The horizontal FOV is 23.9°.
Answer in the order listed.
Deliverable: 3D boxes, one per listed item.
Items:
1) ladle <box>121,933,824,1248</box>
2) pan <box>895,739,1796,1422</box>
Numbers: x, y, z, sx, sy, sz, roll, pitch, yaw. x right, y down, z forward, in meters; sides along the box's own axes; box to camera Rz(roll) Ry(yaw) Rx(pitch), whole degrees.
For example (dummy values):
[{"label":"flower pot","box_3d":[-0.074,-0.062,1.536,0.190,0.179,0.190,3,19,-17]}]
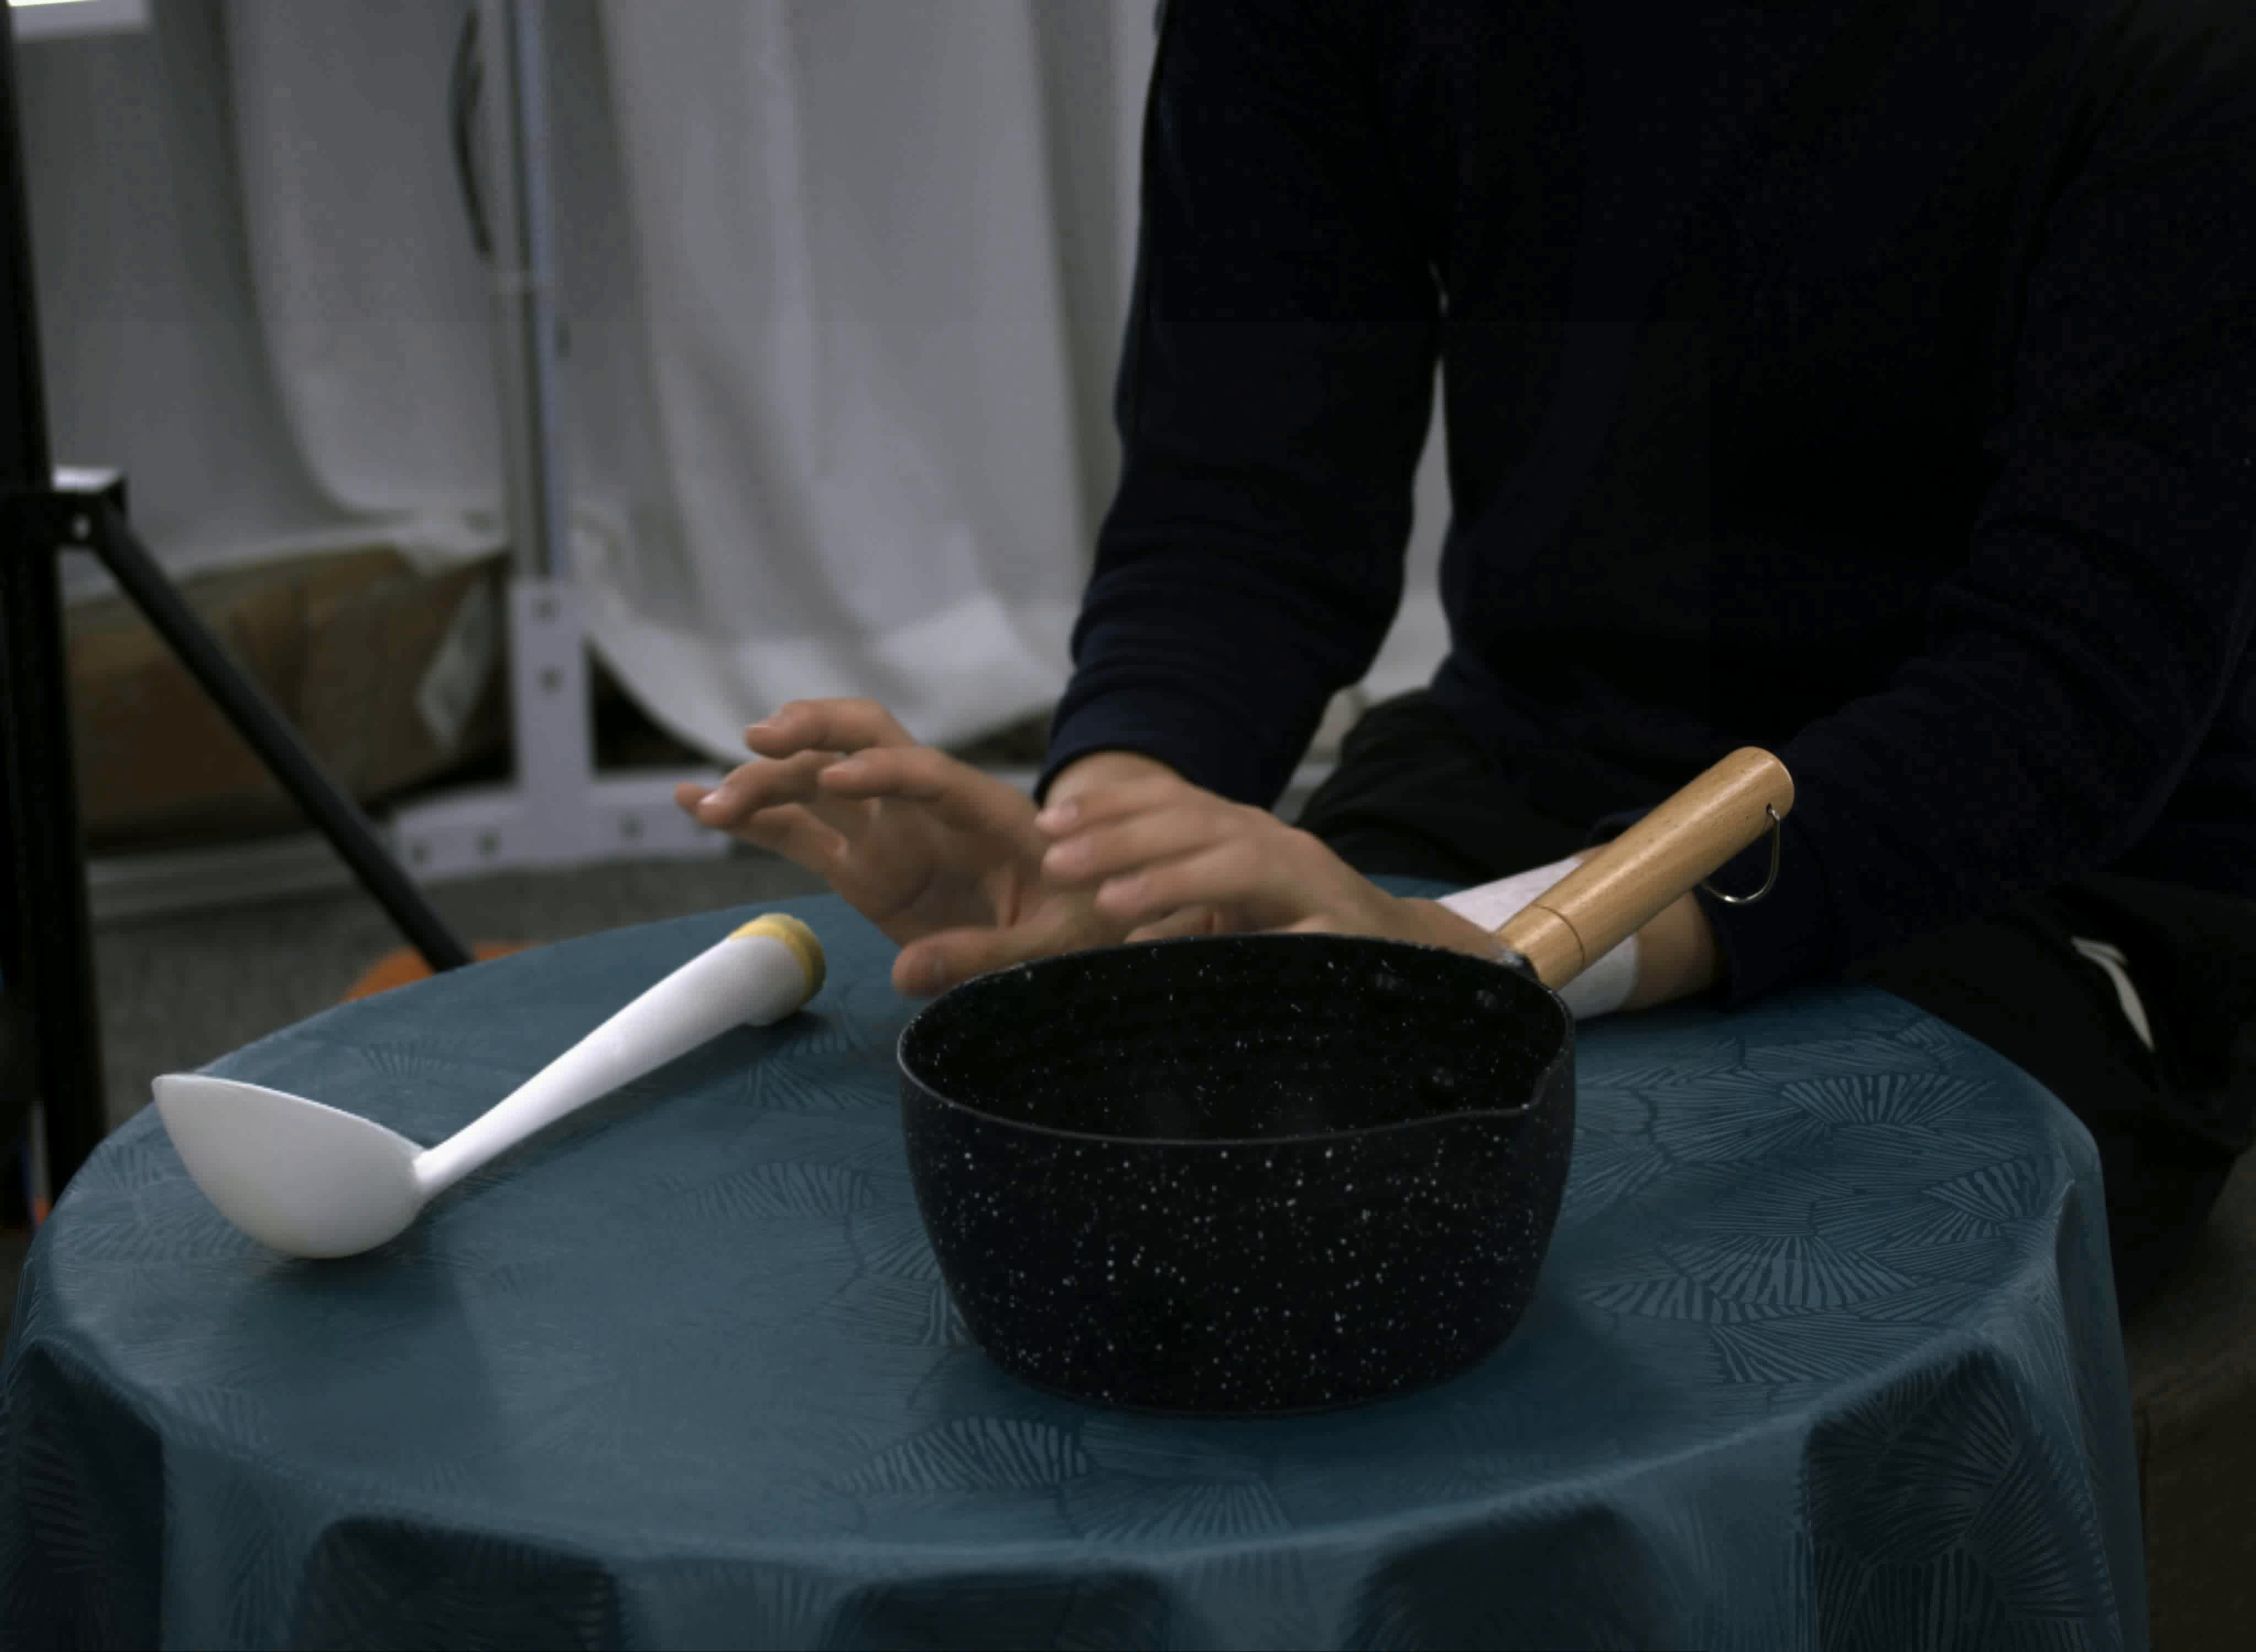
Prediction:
[{"label":"ladle","box_3d":[-0.187,0.065,1.623,0.092,0.070,0.287,-1,13,32]},{"label":"pan","box_3d":[0.082,0.066,1.493,0.212,0.108,0.335,10,21,41]}]
